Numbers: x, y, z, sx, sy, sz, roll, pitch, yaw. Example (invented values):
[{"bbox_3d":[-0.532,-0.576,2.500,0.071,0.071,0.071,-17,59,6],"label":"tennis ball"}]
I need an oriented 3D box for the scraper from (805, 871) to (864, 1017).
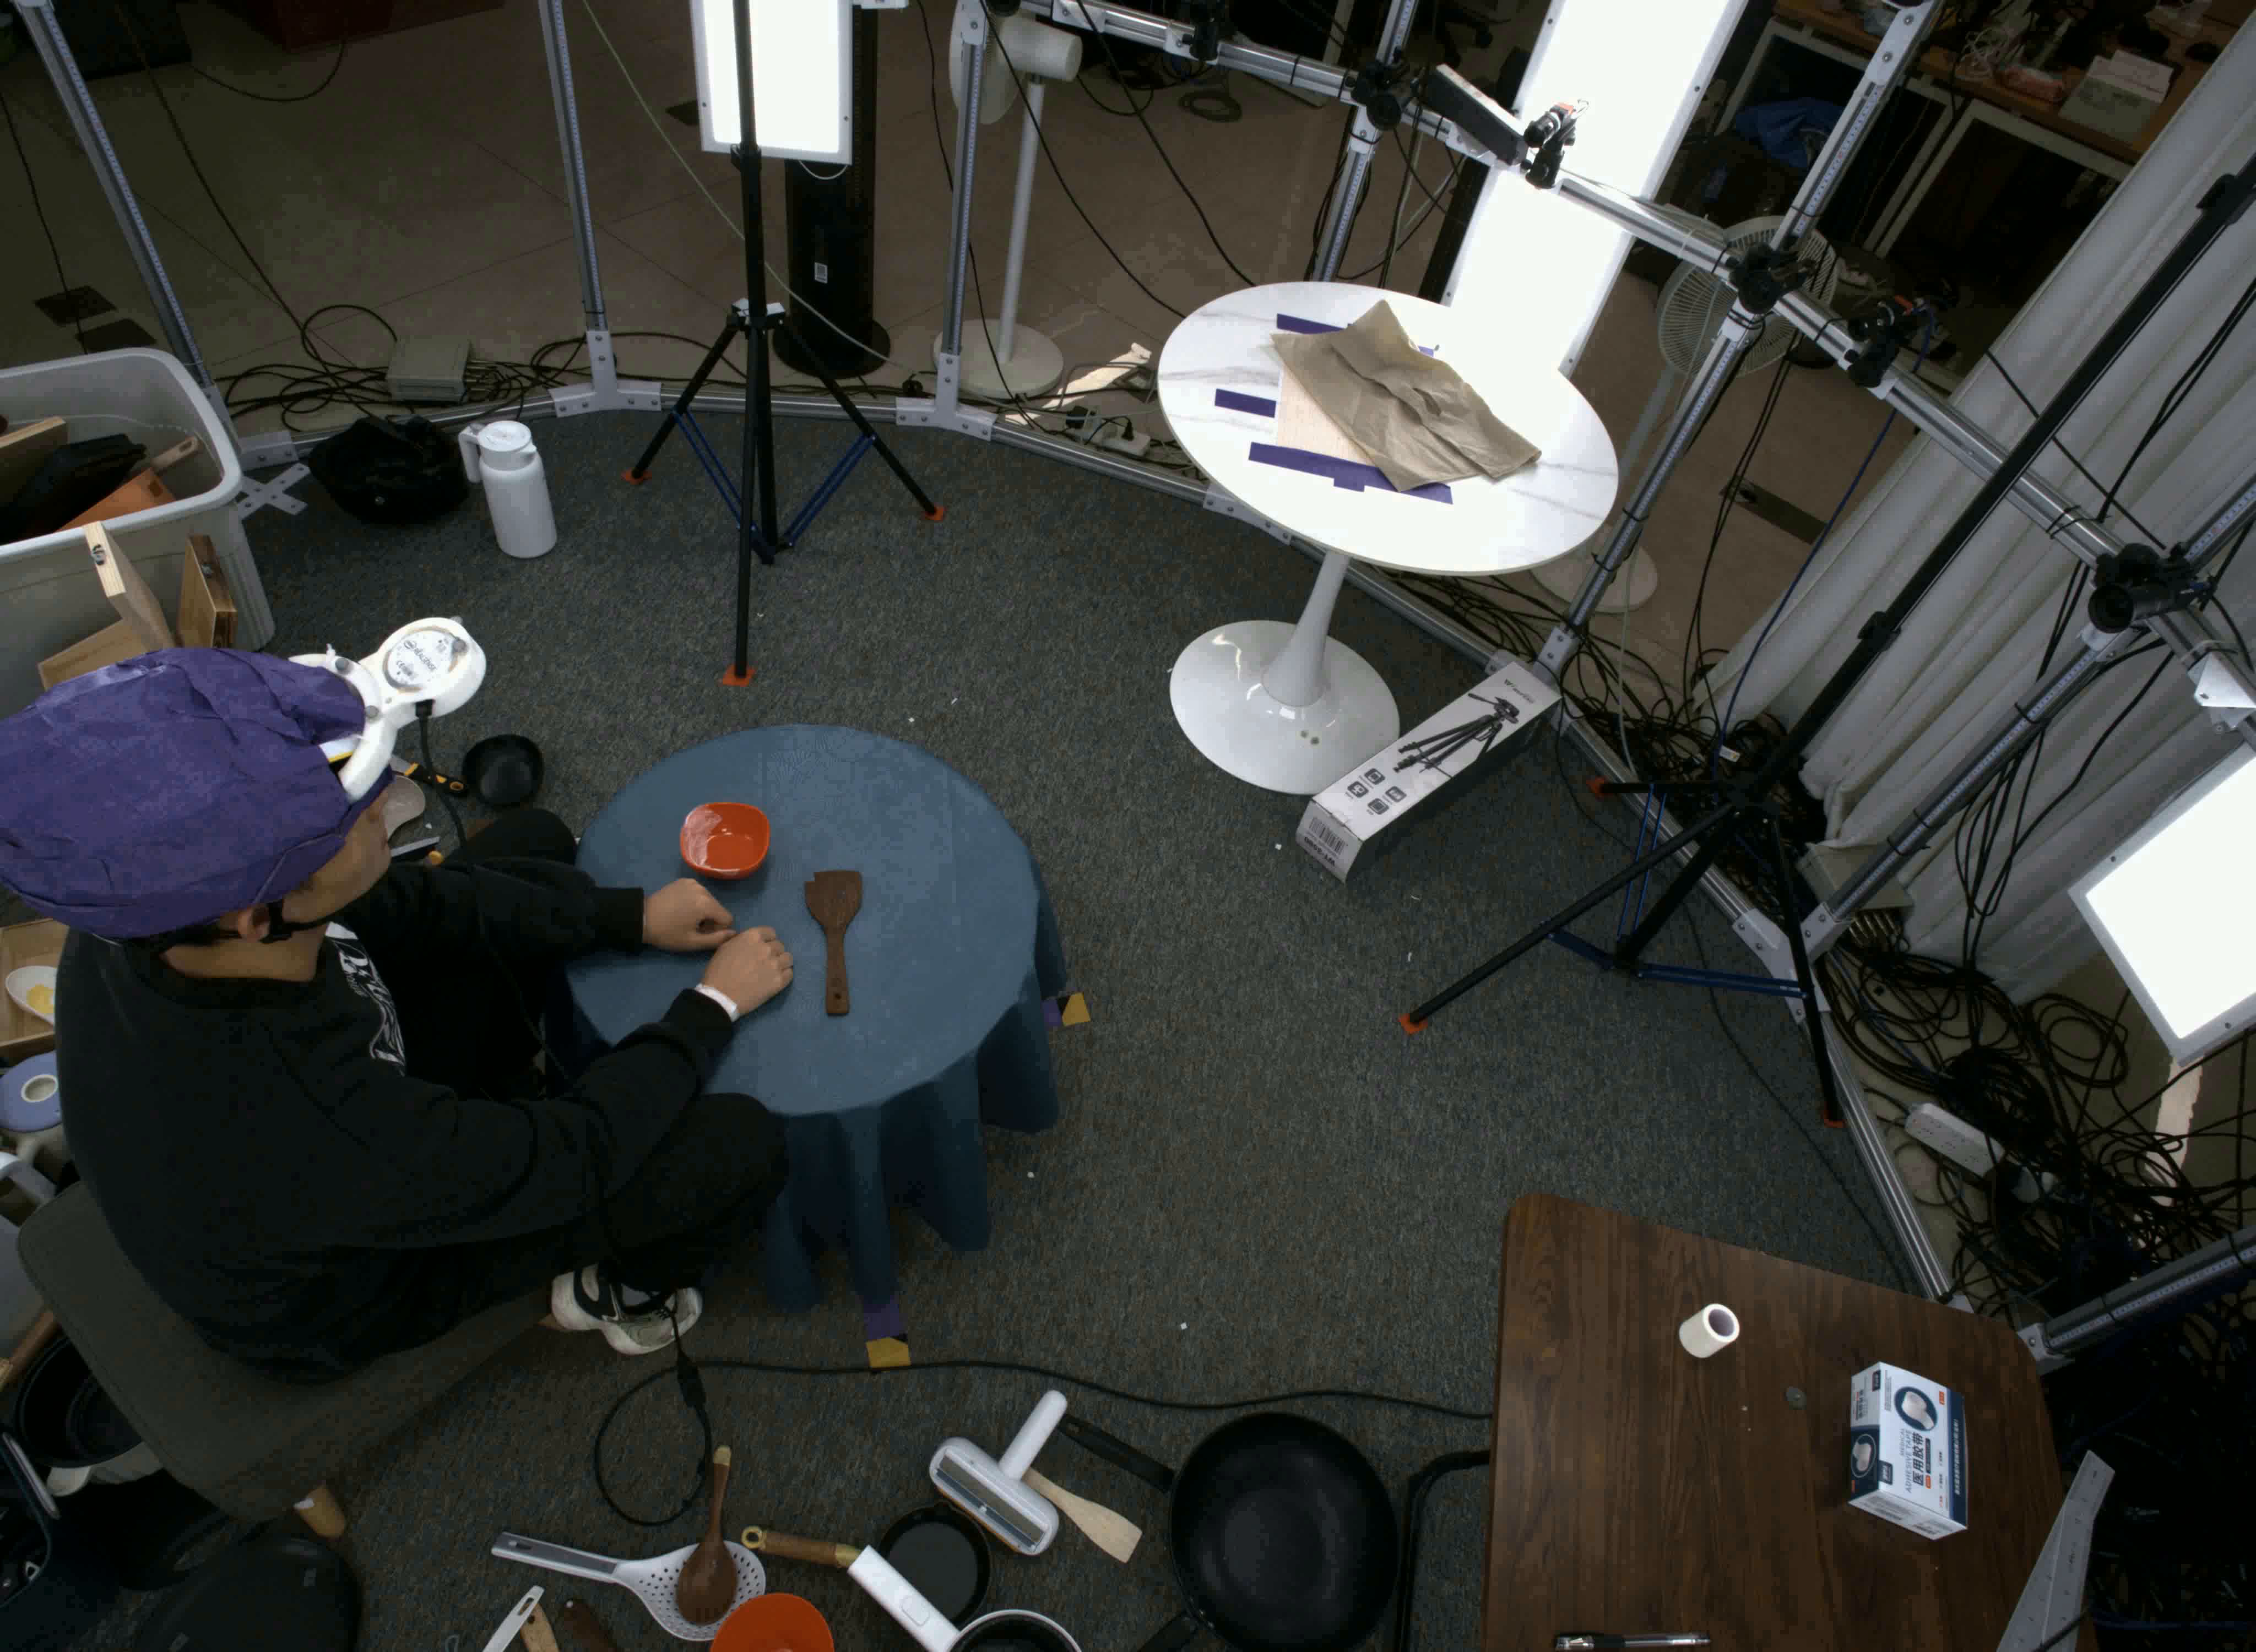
[{"bbox_3d":[-0.367,0.144,1.632,0.076,0.011,0.207,-1,55,-14],"label":"scraper"}]

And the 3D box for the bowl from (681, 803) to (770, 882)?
[{"bbox_3d":[-0.514,0.027,1.654,0.119,0.052,0.117,9,52,-10],"label":"bowl"}]
